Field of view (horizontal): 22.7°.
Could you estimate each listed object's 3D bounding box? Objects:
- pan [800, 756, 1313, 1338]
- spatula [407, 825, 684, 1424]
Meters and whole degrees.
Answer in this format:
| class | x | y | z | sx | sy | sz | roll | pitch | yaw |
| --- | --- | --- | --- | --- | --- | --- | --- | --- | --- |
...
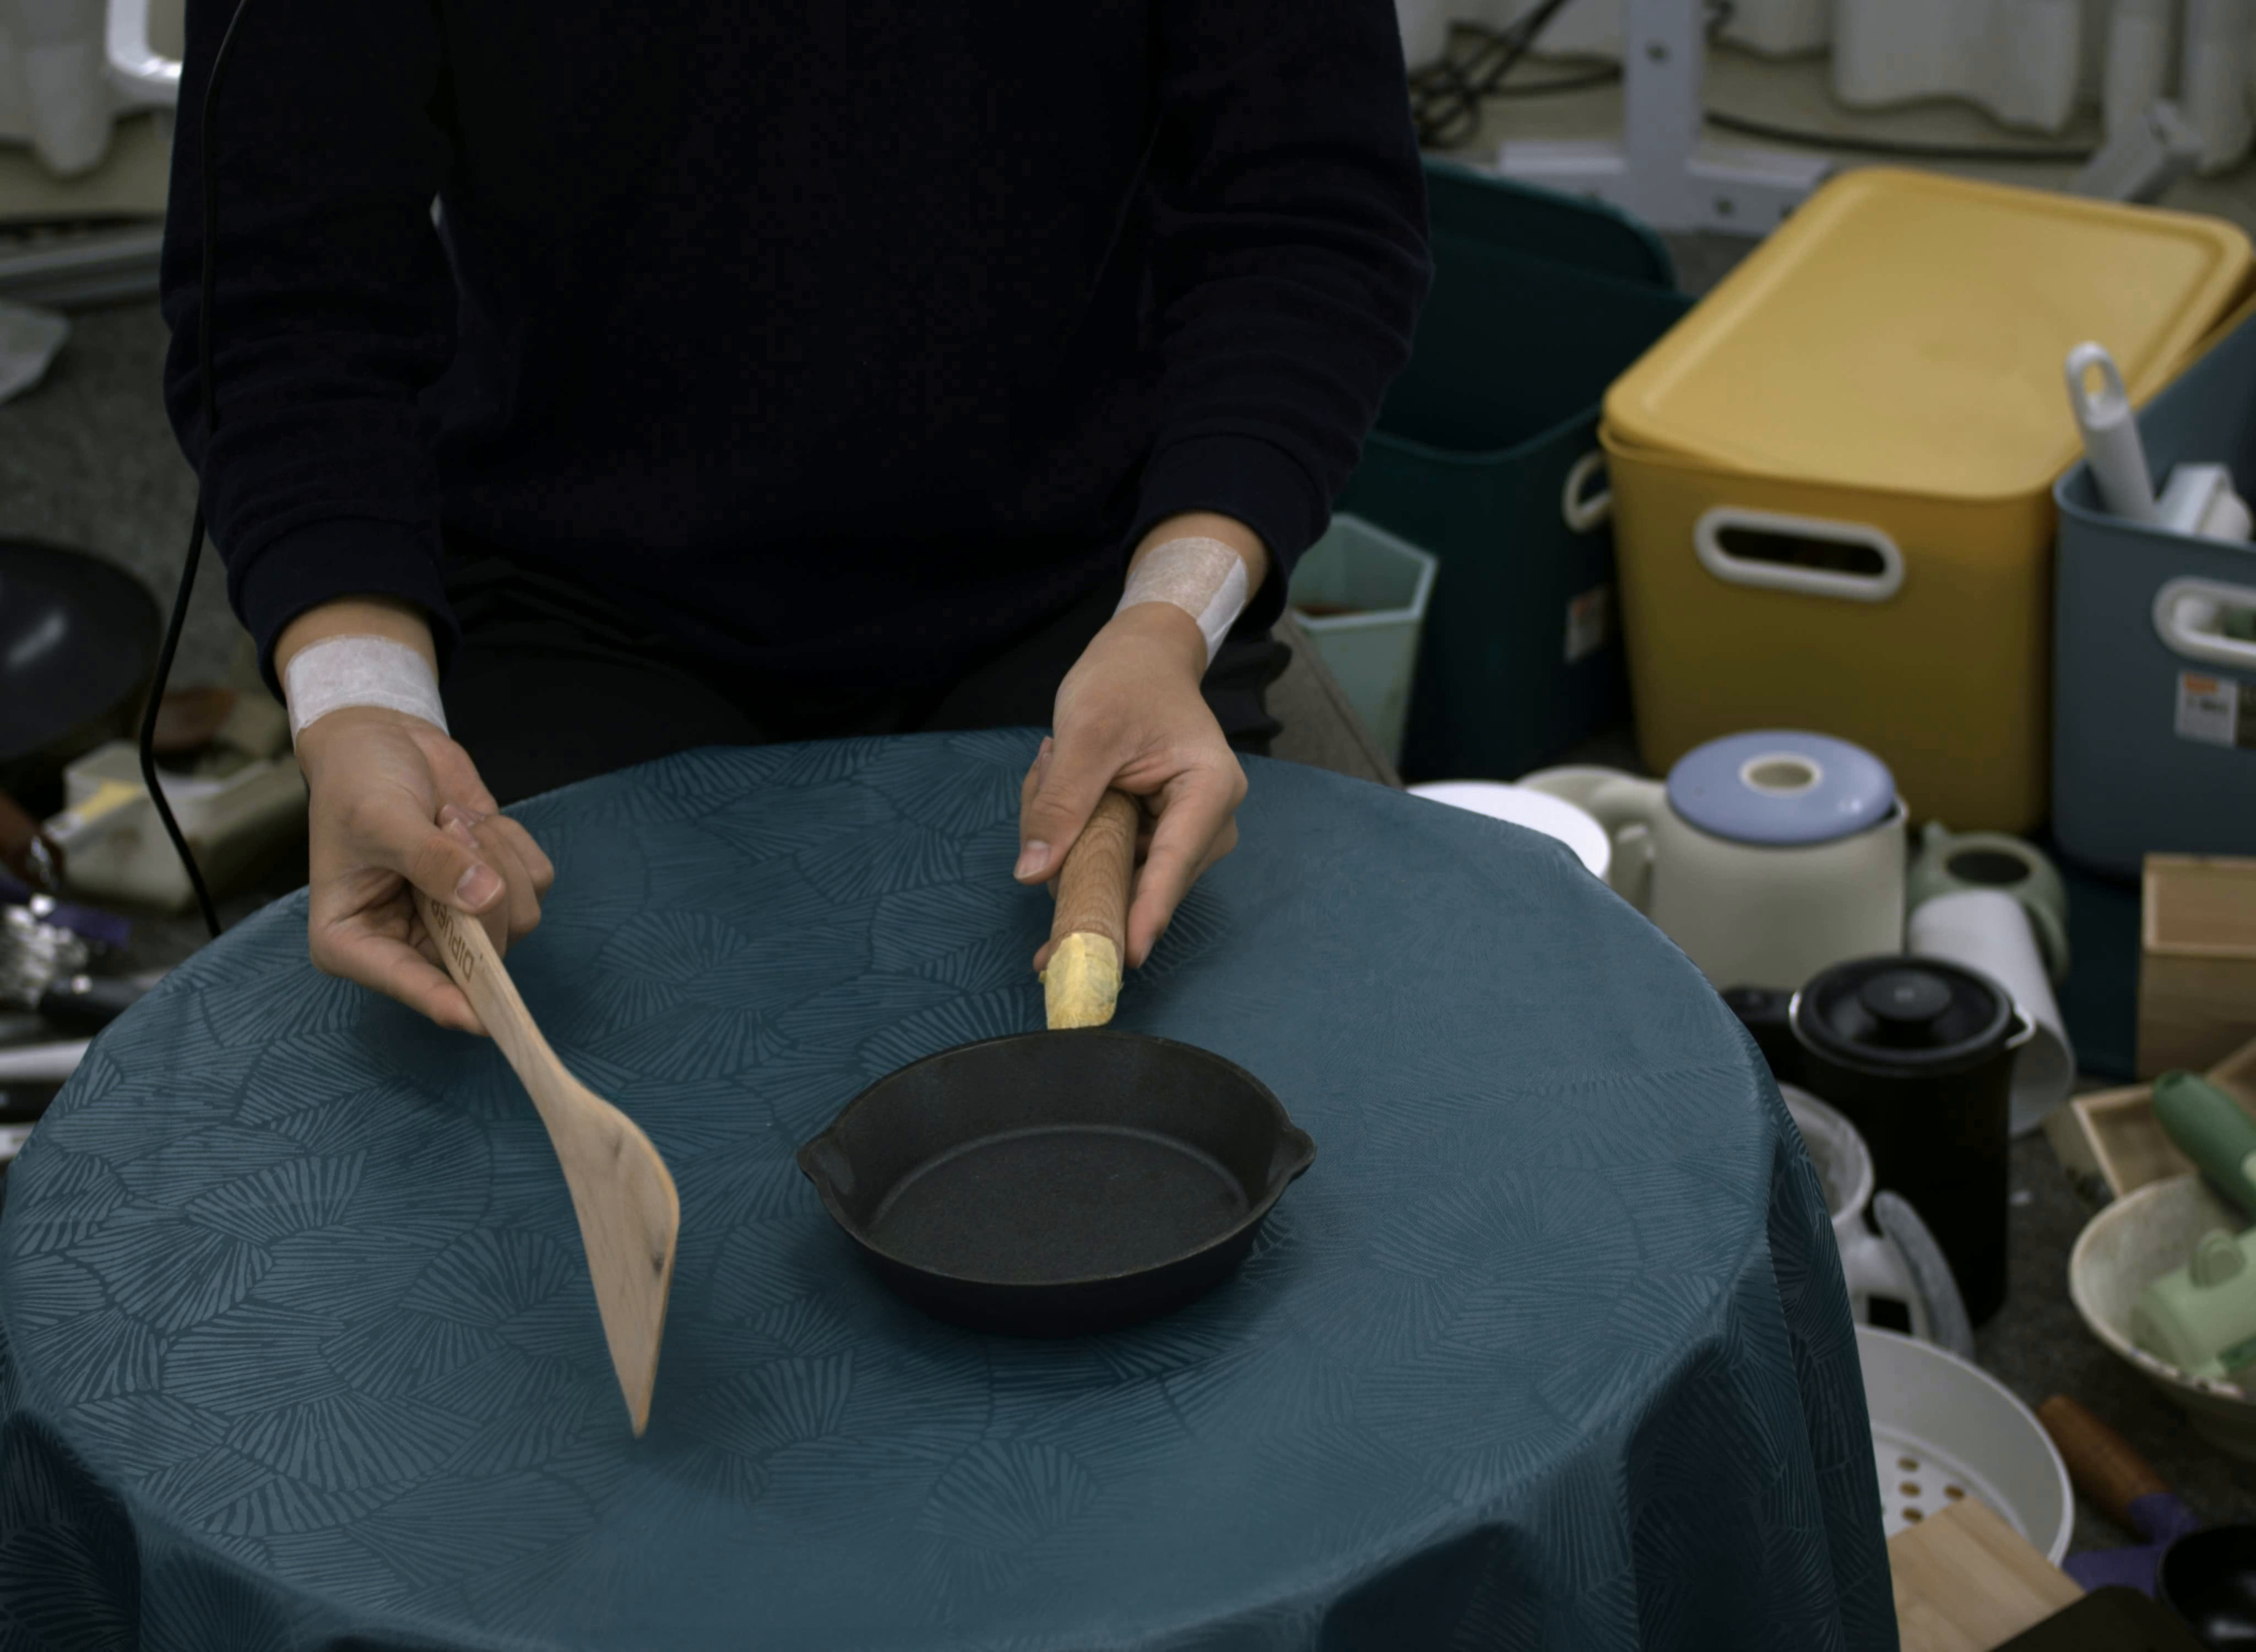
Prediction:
| class | x | y | z | sx | sy | sz | roll | pitch | yaw |
| --- | --- | --- | --- | --- | --- | --- | --- | --- | --- |
| pan | -0.015 | 0.072 | 1.905 | 0.168 | 0.049 | 0.330 | 0 | 29 | 6 |
| spatula | -0.195 | 0.080 | 1.847 | 0.016 | 0.079 | 0.330 | 3 | 25 | -25 |
